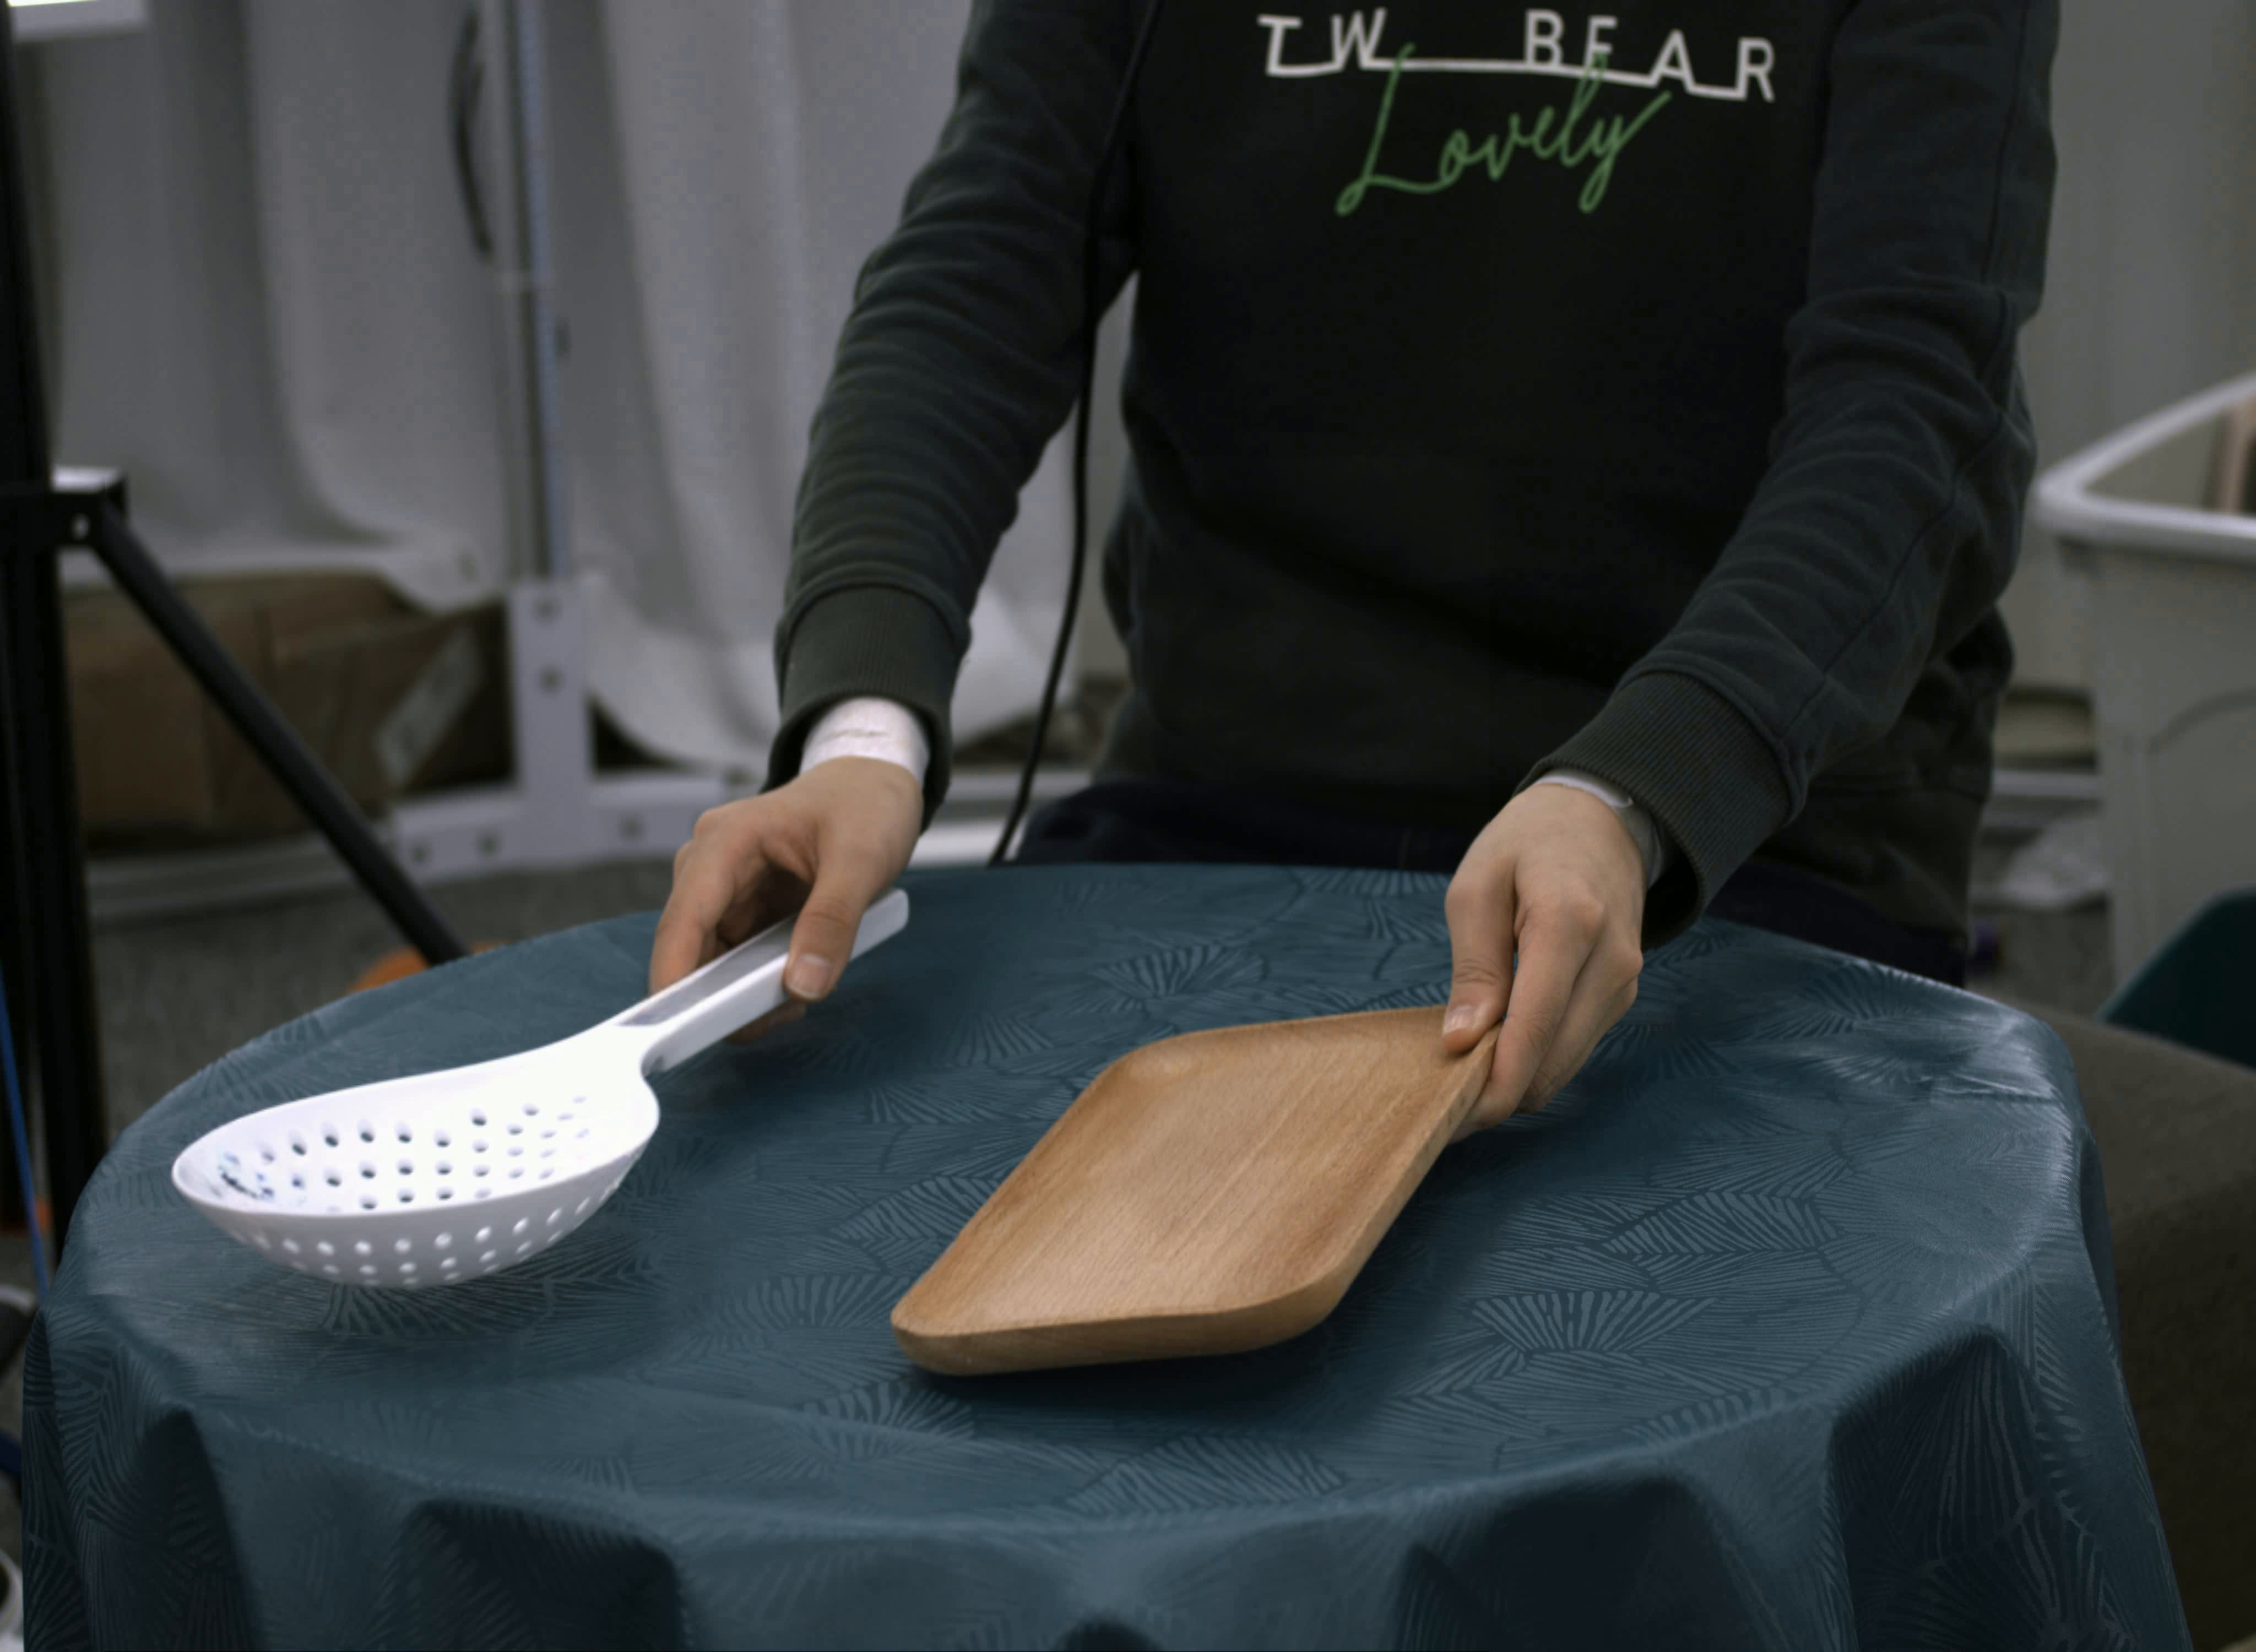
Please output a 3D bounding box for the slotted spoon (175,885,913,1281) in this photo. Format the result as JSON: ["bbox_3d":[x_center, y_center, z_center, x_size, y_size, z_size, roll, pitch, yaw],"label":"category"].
[{"bbox_3d":[-0.153,0.068,1.589,0.138,0.045,0.345,2,19,26],"label":"slotted spoon"}]

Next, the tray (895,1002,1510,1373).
[{"bbox_3d":[0.026,0.100,1.500,0.132,0.023,0.248,-5,15,19],"label":"tray"}]
